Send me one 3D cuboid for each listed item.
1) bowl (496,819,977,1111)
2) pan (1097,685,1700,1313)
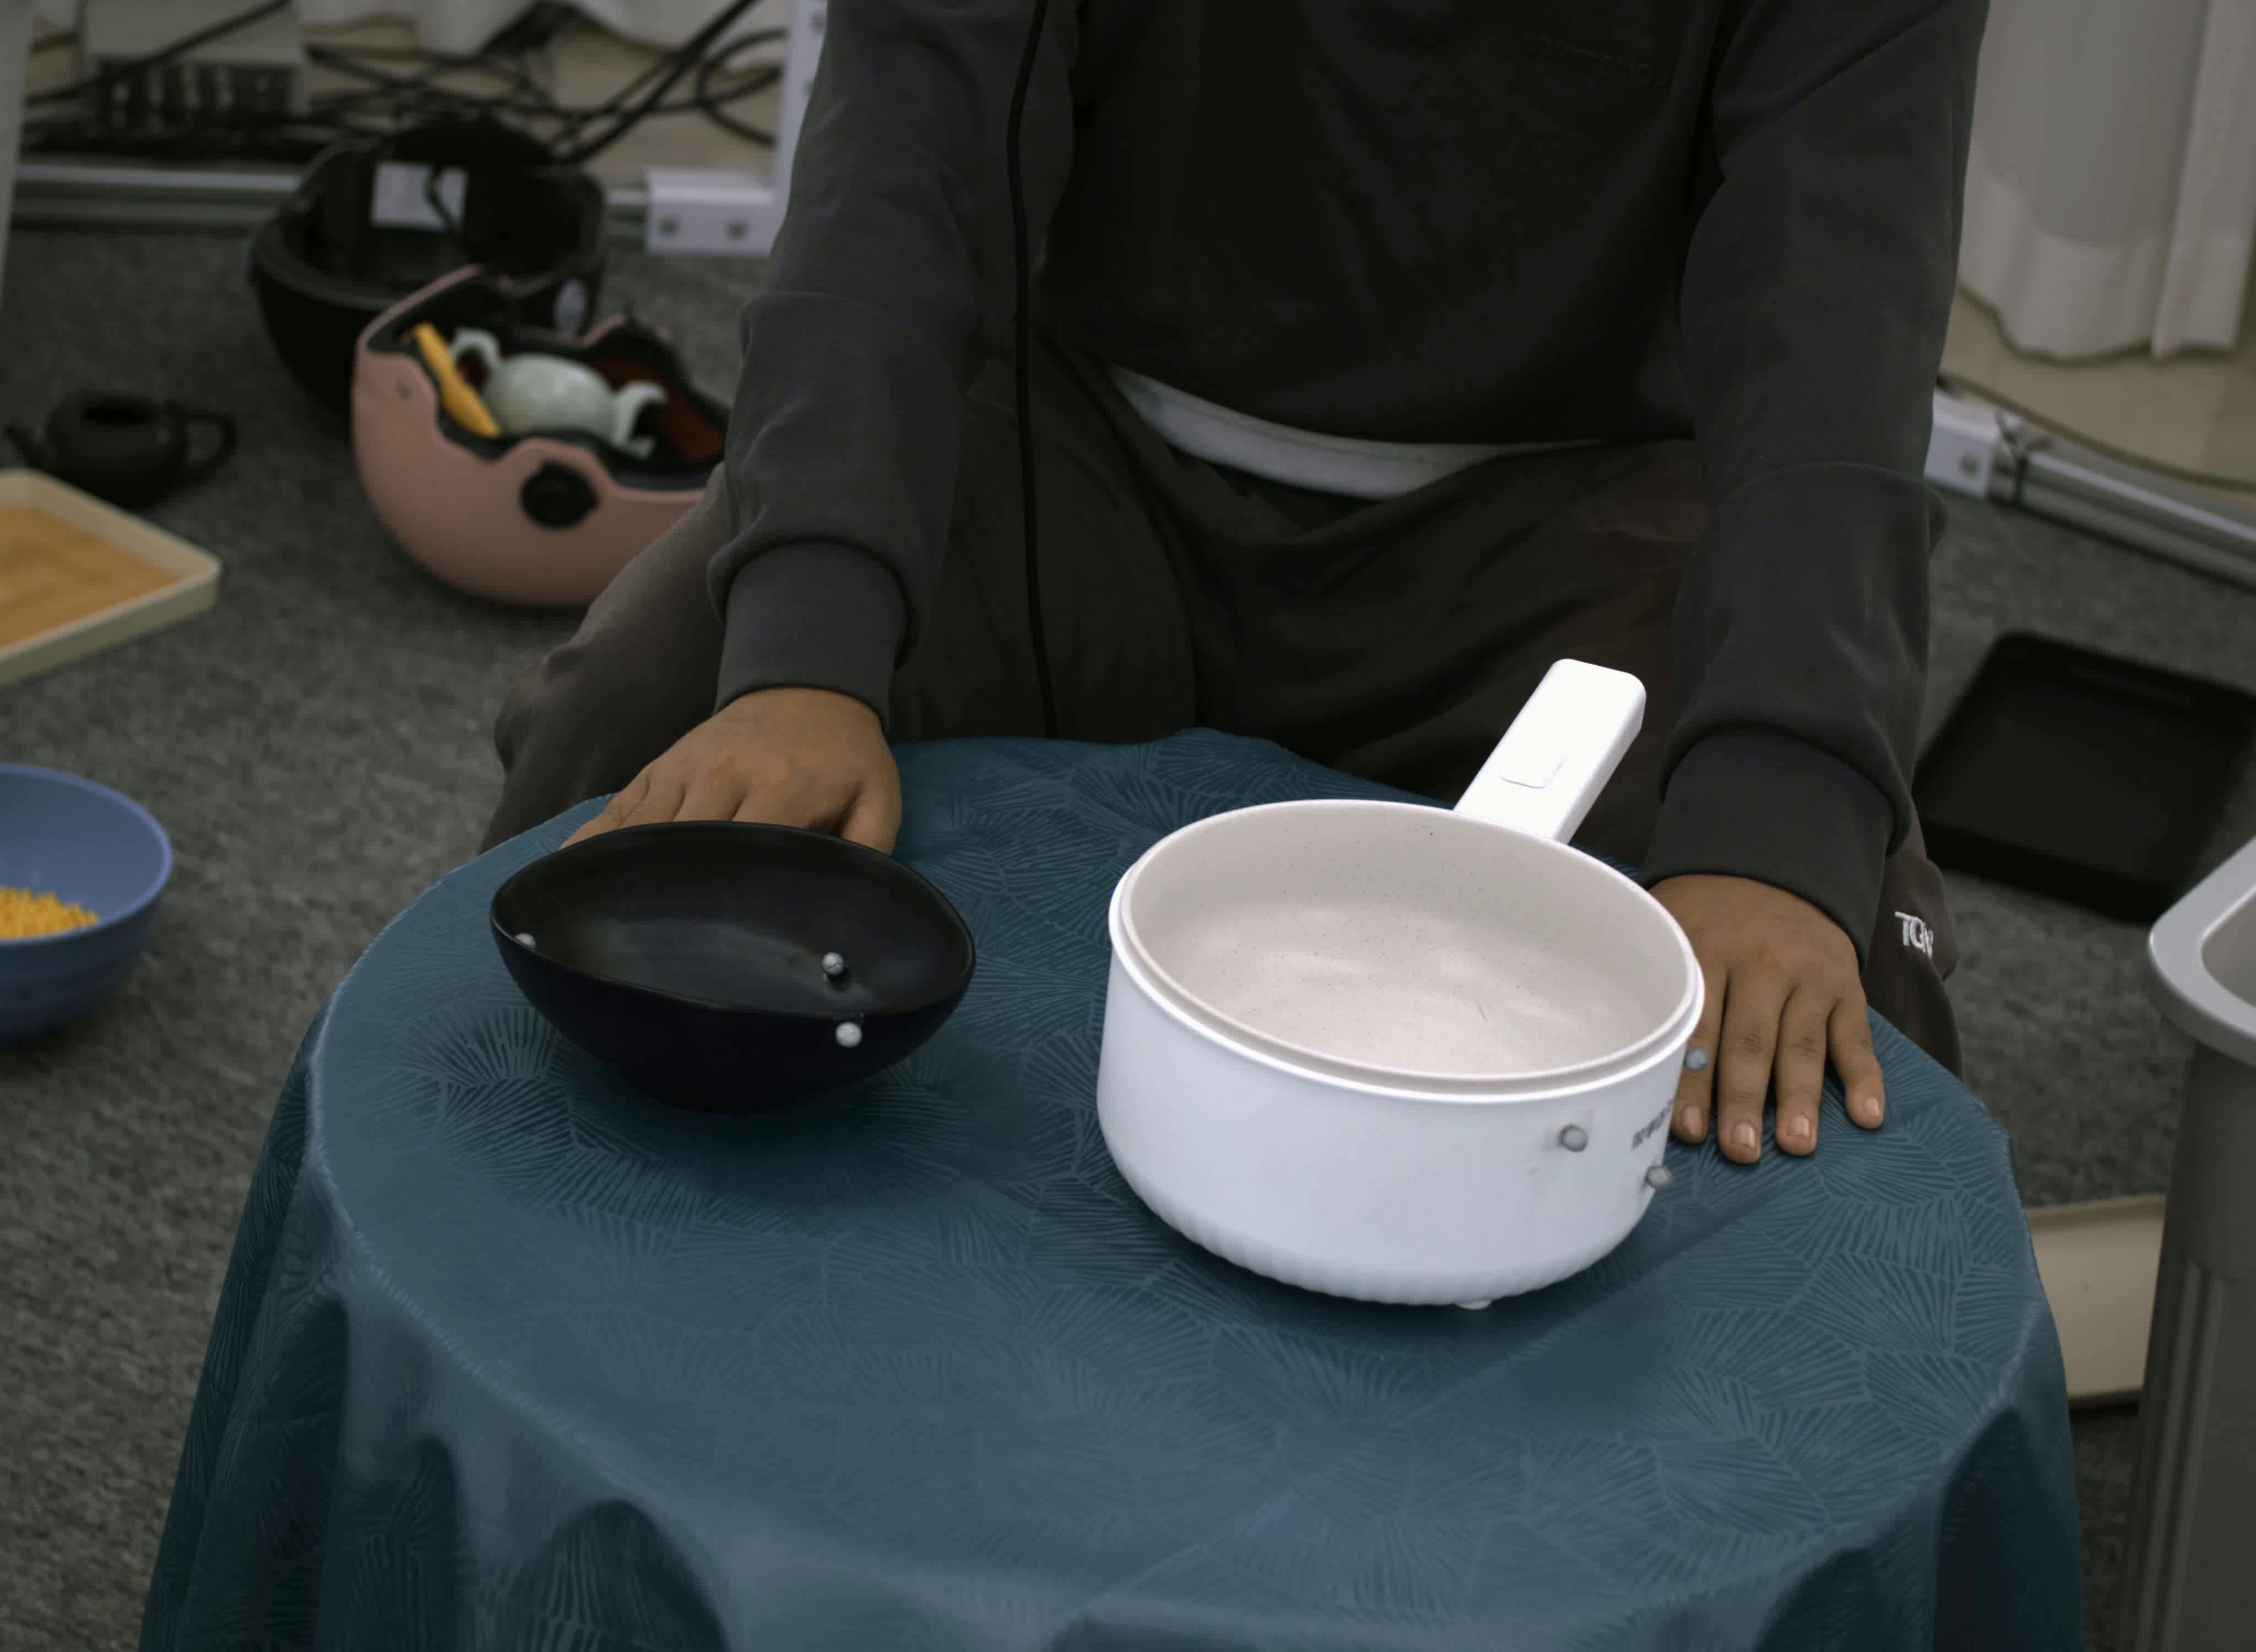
[{"bbox_3d":[-0.138,0.056,1.836,0.170,0.066,0.138,10,26,10],"label":"bowl"},{"bbox_3d":[0.113,0.055,1.871,0.201,0.102,0.355,13,25,15],"label":"pan"}]
